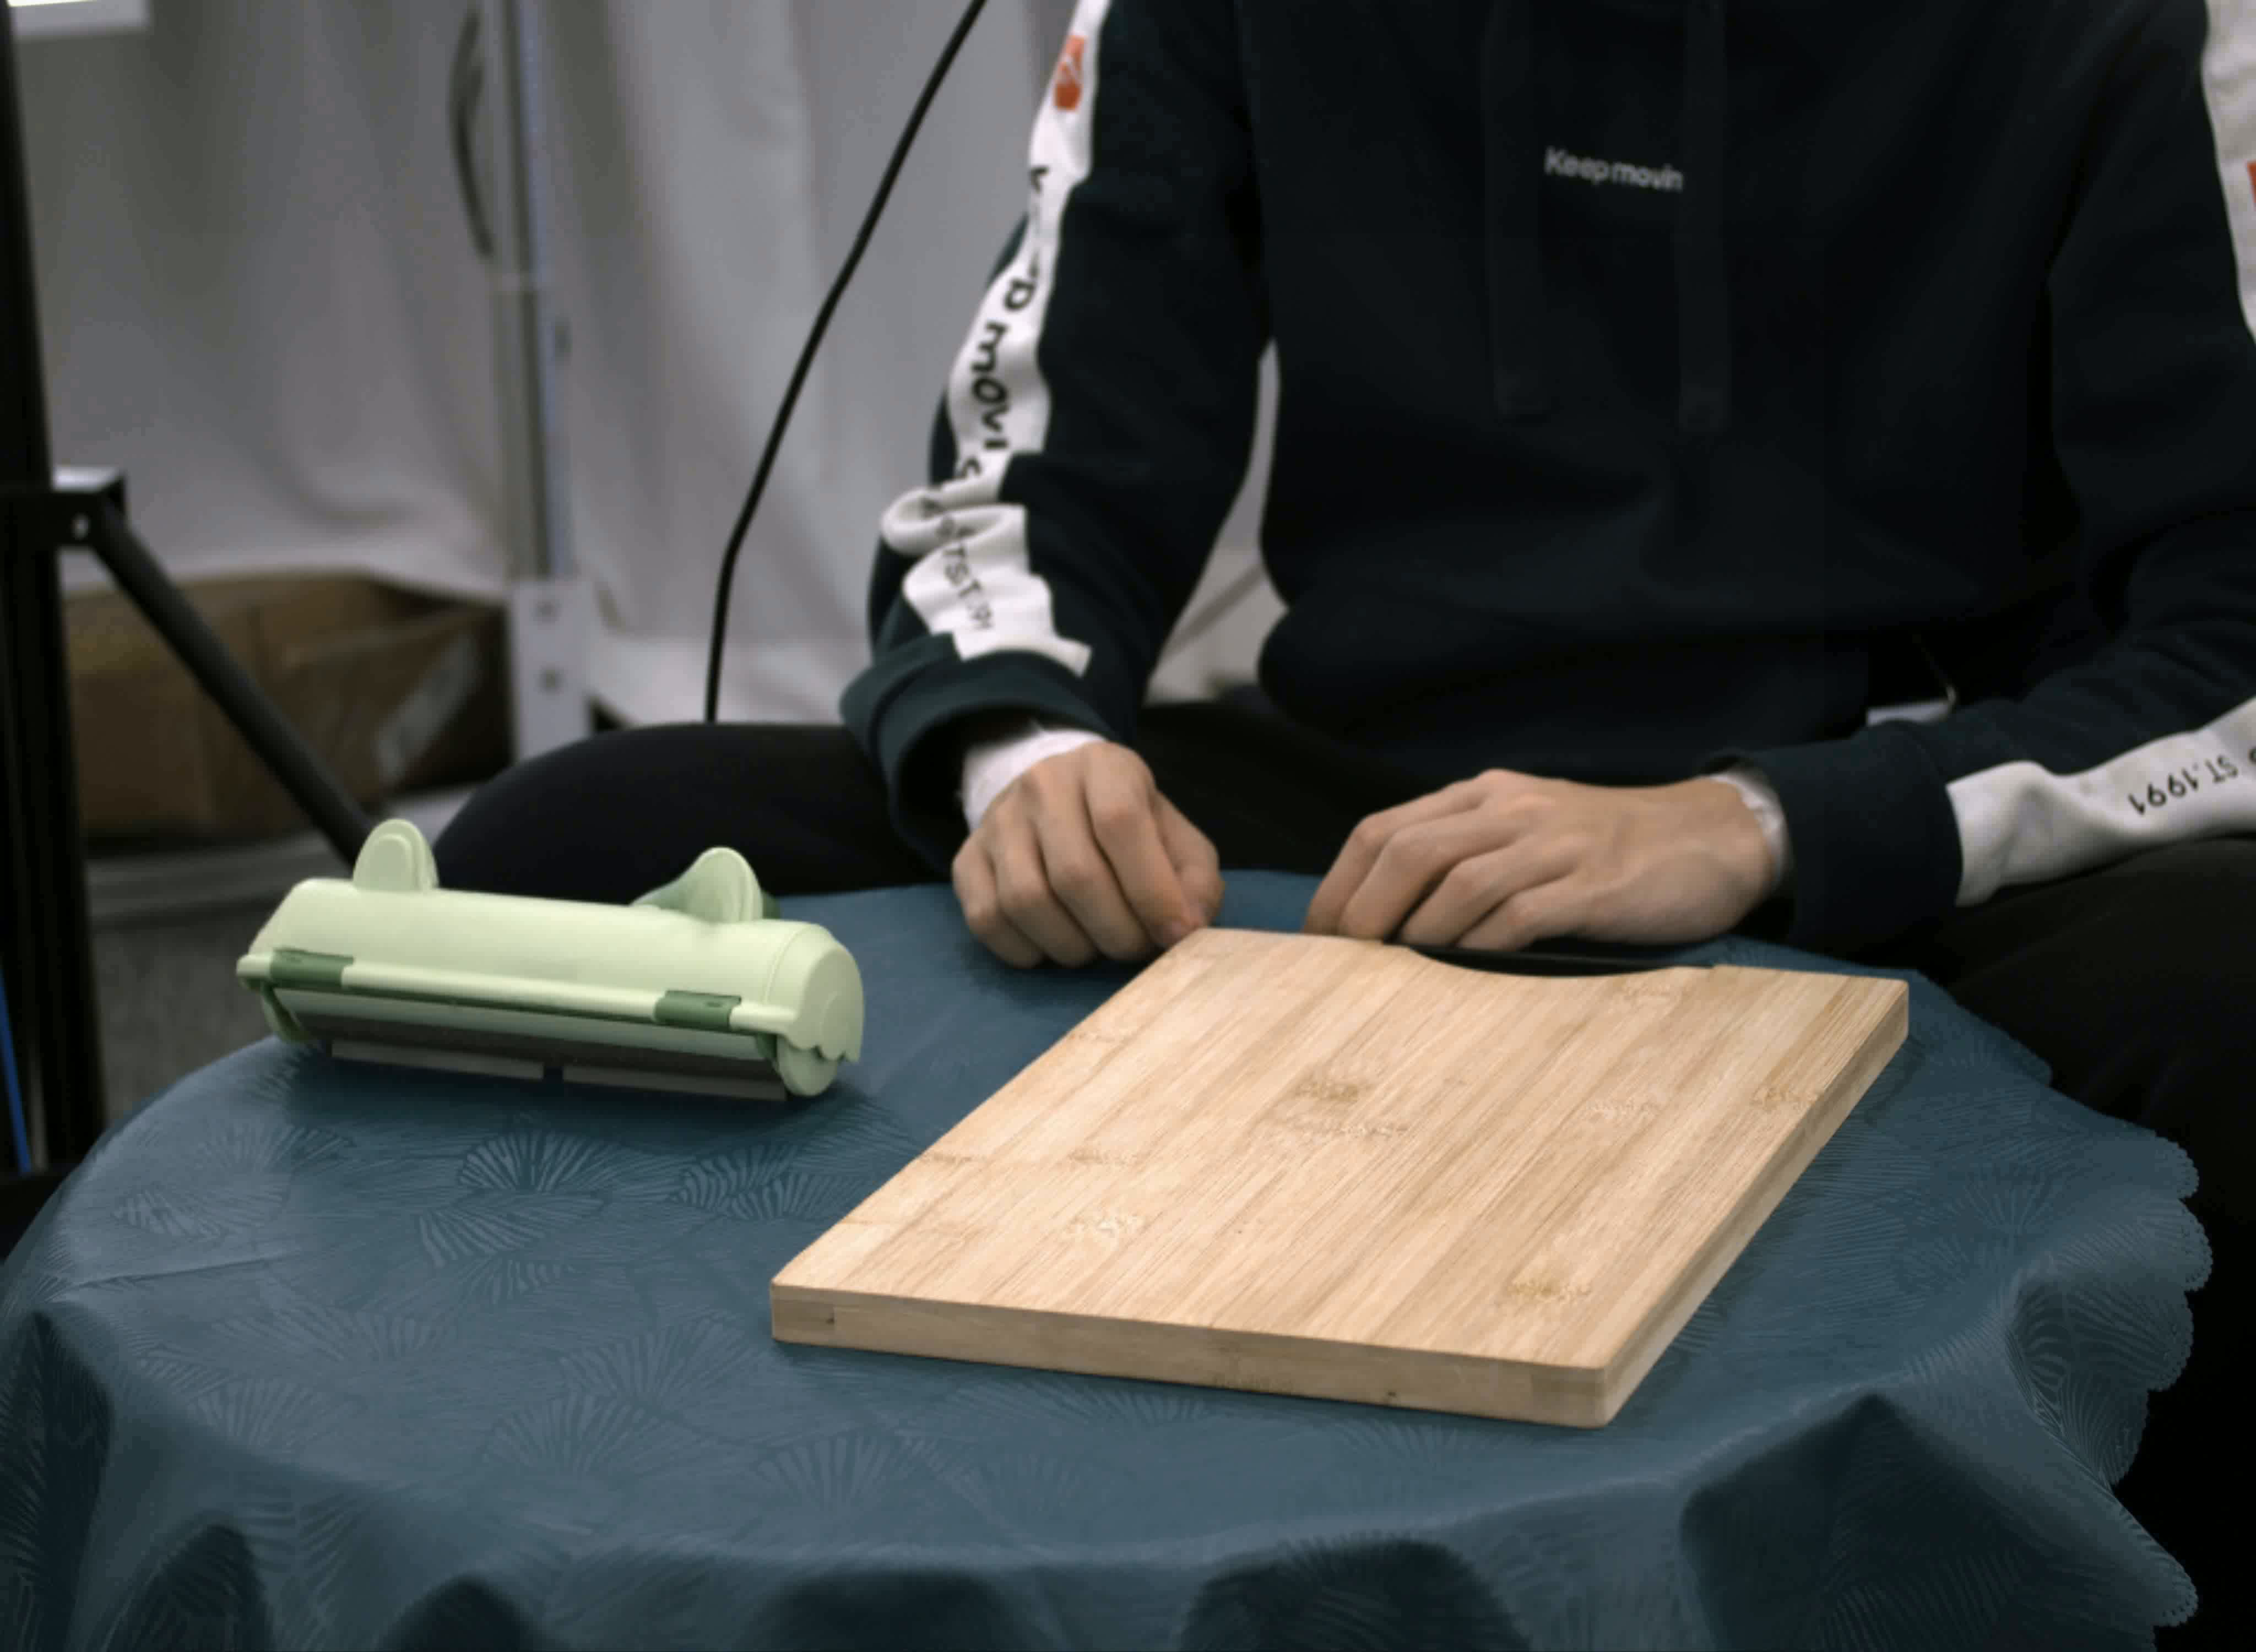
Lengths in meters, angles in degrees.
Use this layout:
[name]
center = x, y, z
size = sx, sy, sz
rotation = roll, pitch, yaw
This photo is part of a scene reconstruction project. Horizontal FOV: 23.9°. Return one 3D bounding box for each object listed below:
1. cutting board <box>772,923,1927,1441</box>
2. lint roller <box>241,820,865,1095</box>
[cutting board]
center = 0.076, 0.096, 1.560
size = 0.254, 0.023, 0.344
rotation = 4, 17, 21
[lint roller]
center = -0.160, 0.026, 1.728
size = 0.201, 0.082, 0.181
rotation = 4, 20, 24
